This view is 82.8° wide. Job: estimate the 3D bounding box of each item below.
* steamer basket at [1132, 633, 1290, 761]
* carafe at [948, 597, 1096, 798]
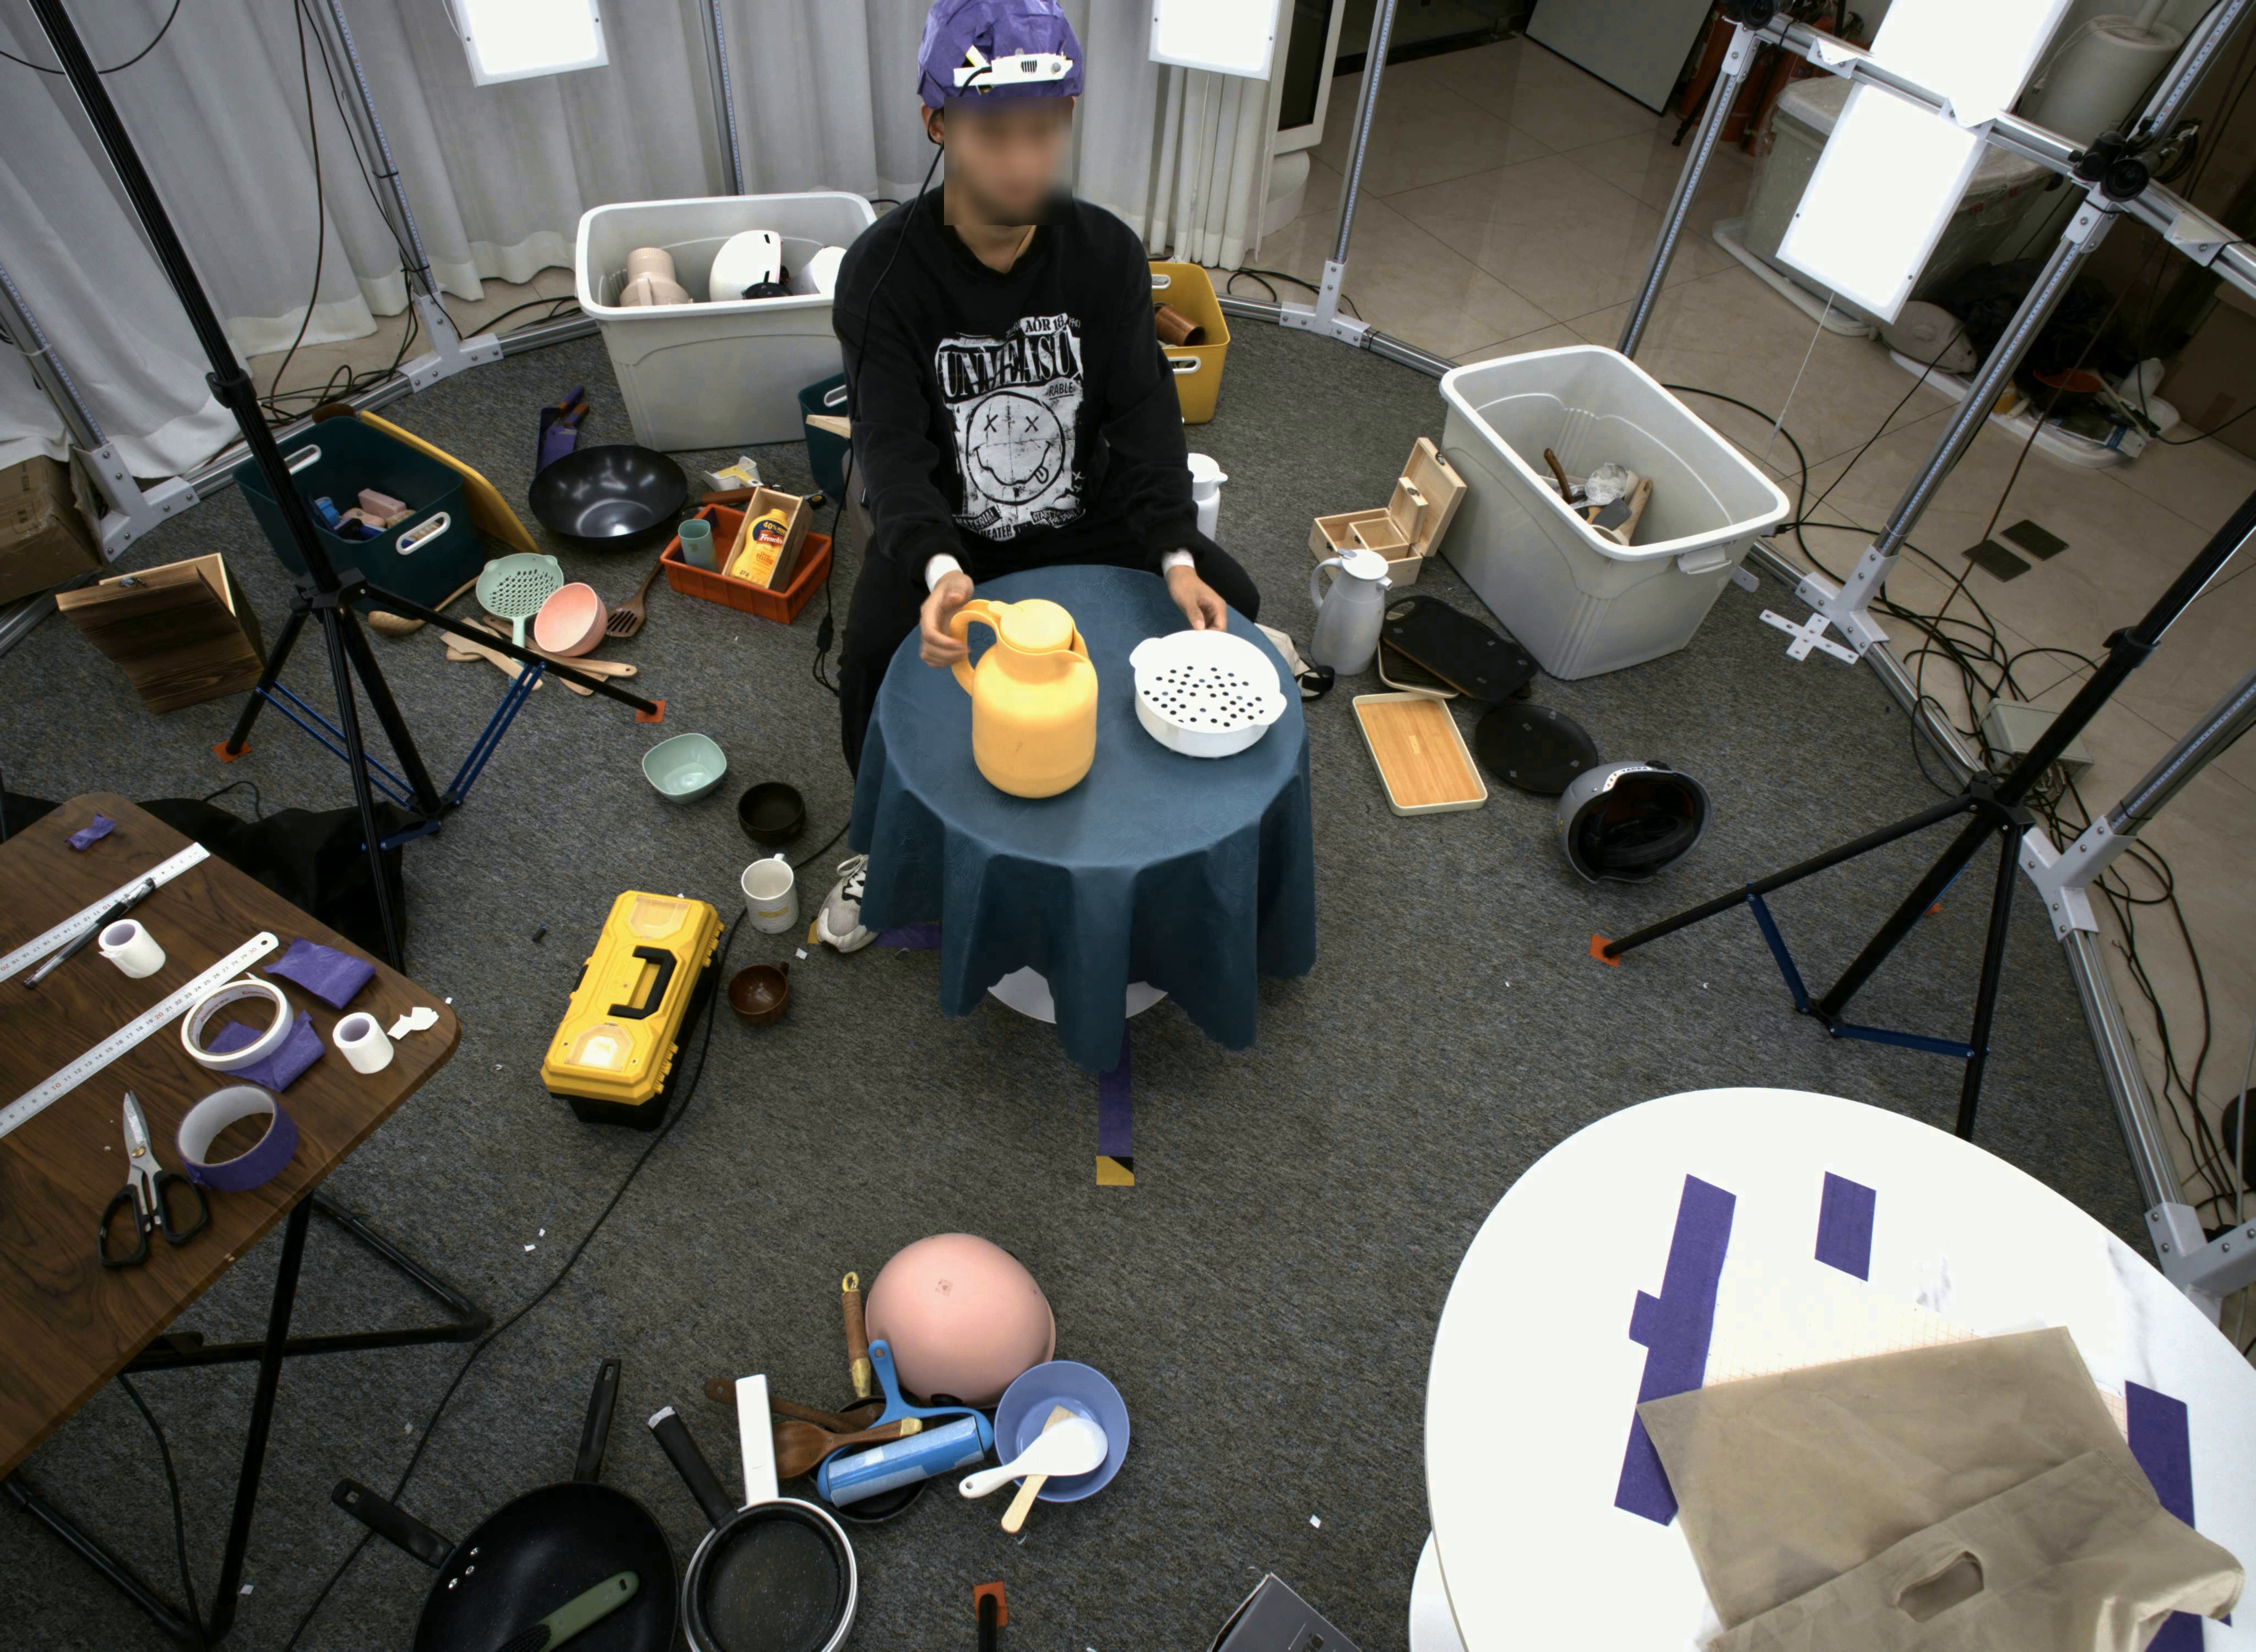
[{"bbox_3d":[0.112,-0.179,1.793,0.232,0.067,0.205,26,53,18],"label":"steamer basket"},{"bbox_3d":[-0.138,-0.176,1.644,0.204,0.254,0.166,28,50,17],"label":"carafe"}]
